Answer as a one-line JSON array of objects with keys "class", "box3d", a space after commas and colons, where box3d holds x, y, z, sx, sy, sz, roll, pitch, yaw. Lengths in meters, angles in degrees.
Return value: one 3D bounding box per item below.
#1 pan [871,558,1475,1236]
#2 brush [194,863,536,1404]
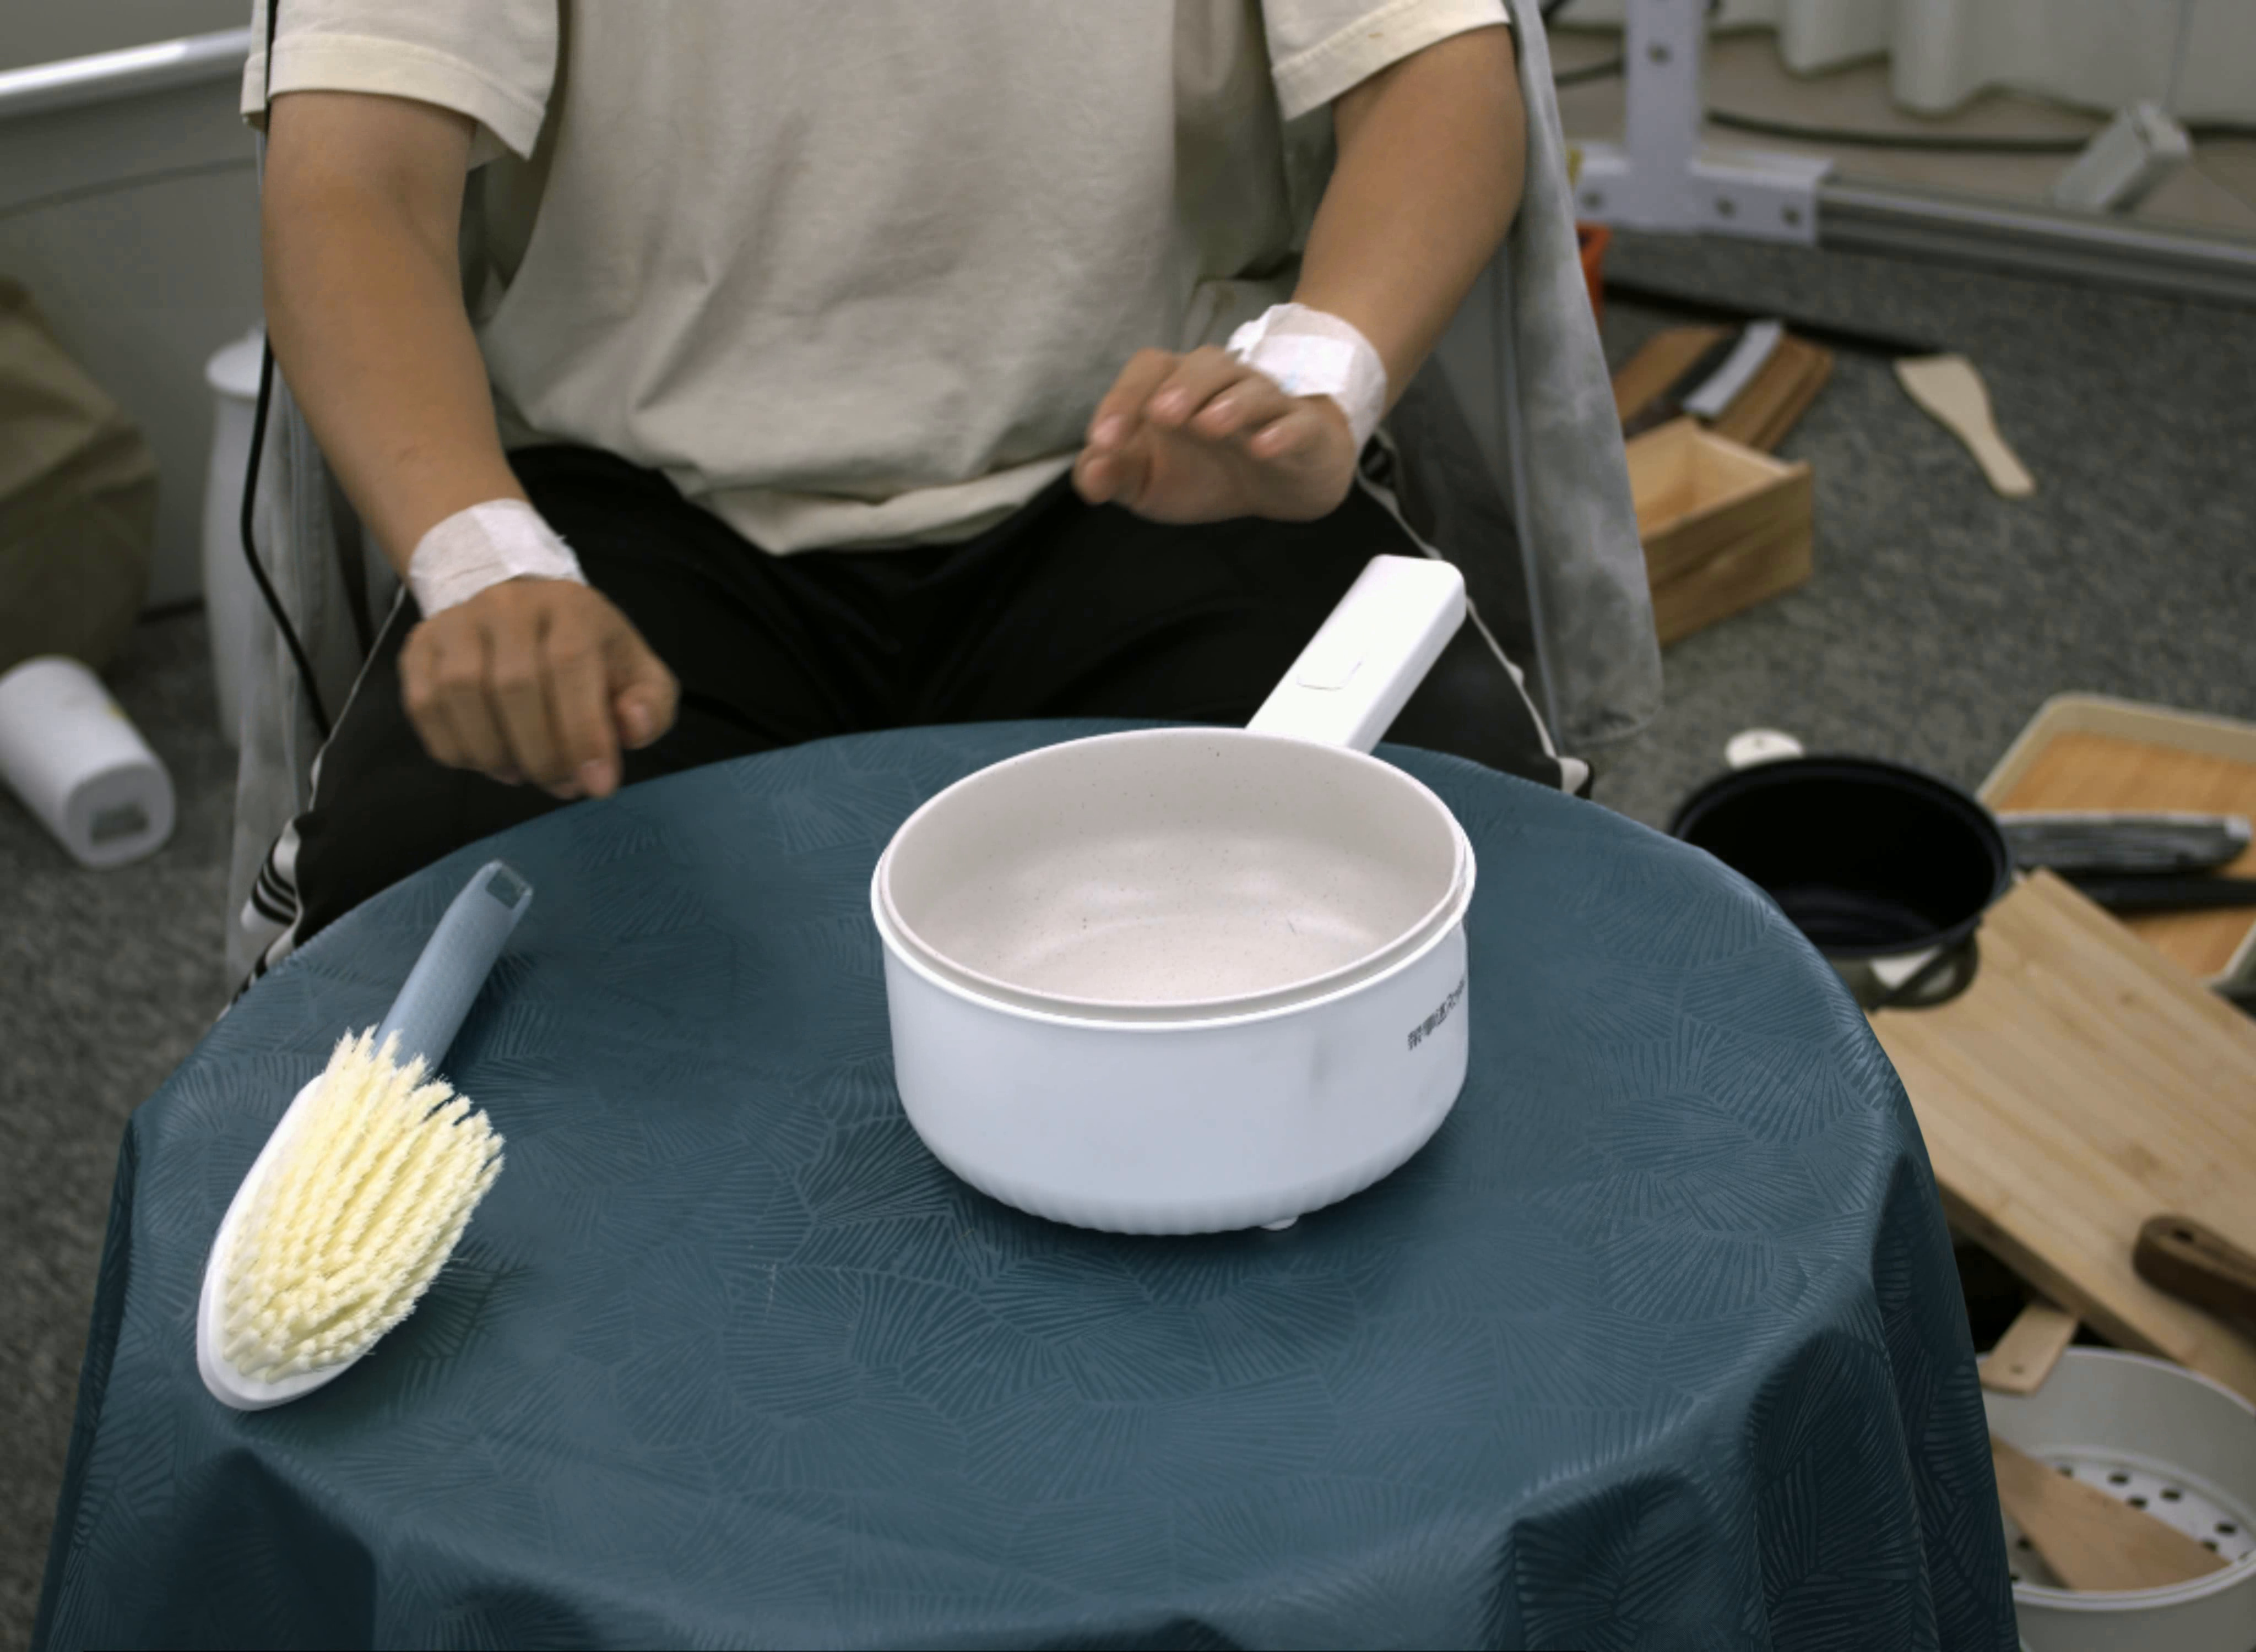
[{"class": "pan", "box3d": [0.045, 0.022, 1.943, 0.200, 0.101, 0.361, 7, 28, 20]}, {"class": "brush", "box3d": [-0.235, 0.078, 1.880, 0.084, 0.082, 0.331, -4, 27, 14]}]
